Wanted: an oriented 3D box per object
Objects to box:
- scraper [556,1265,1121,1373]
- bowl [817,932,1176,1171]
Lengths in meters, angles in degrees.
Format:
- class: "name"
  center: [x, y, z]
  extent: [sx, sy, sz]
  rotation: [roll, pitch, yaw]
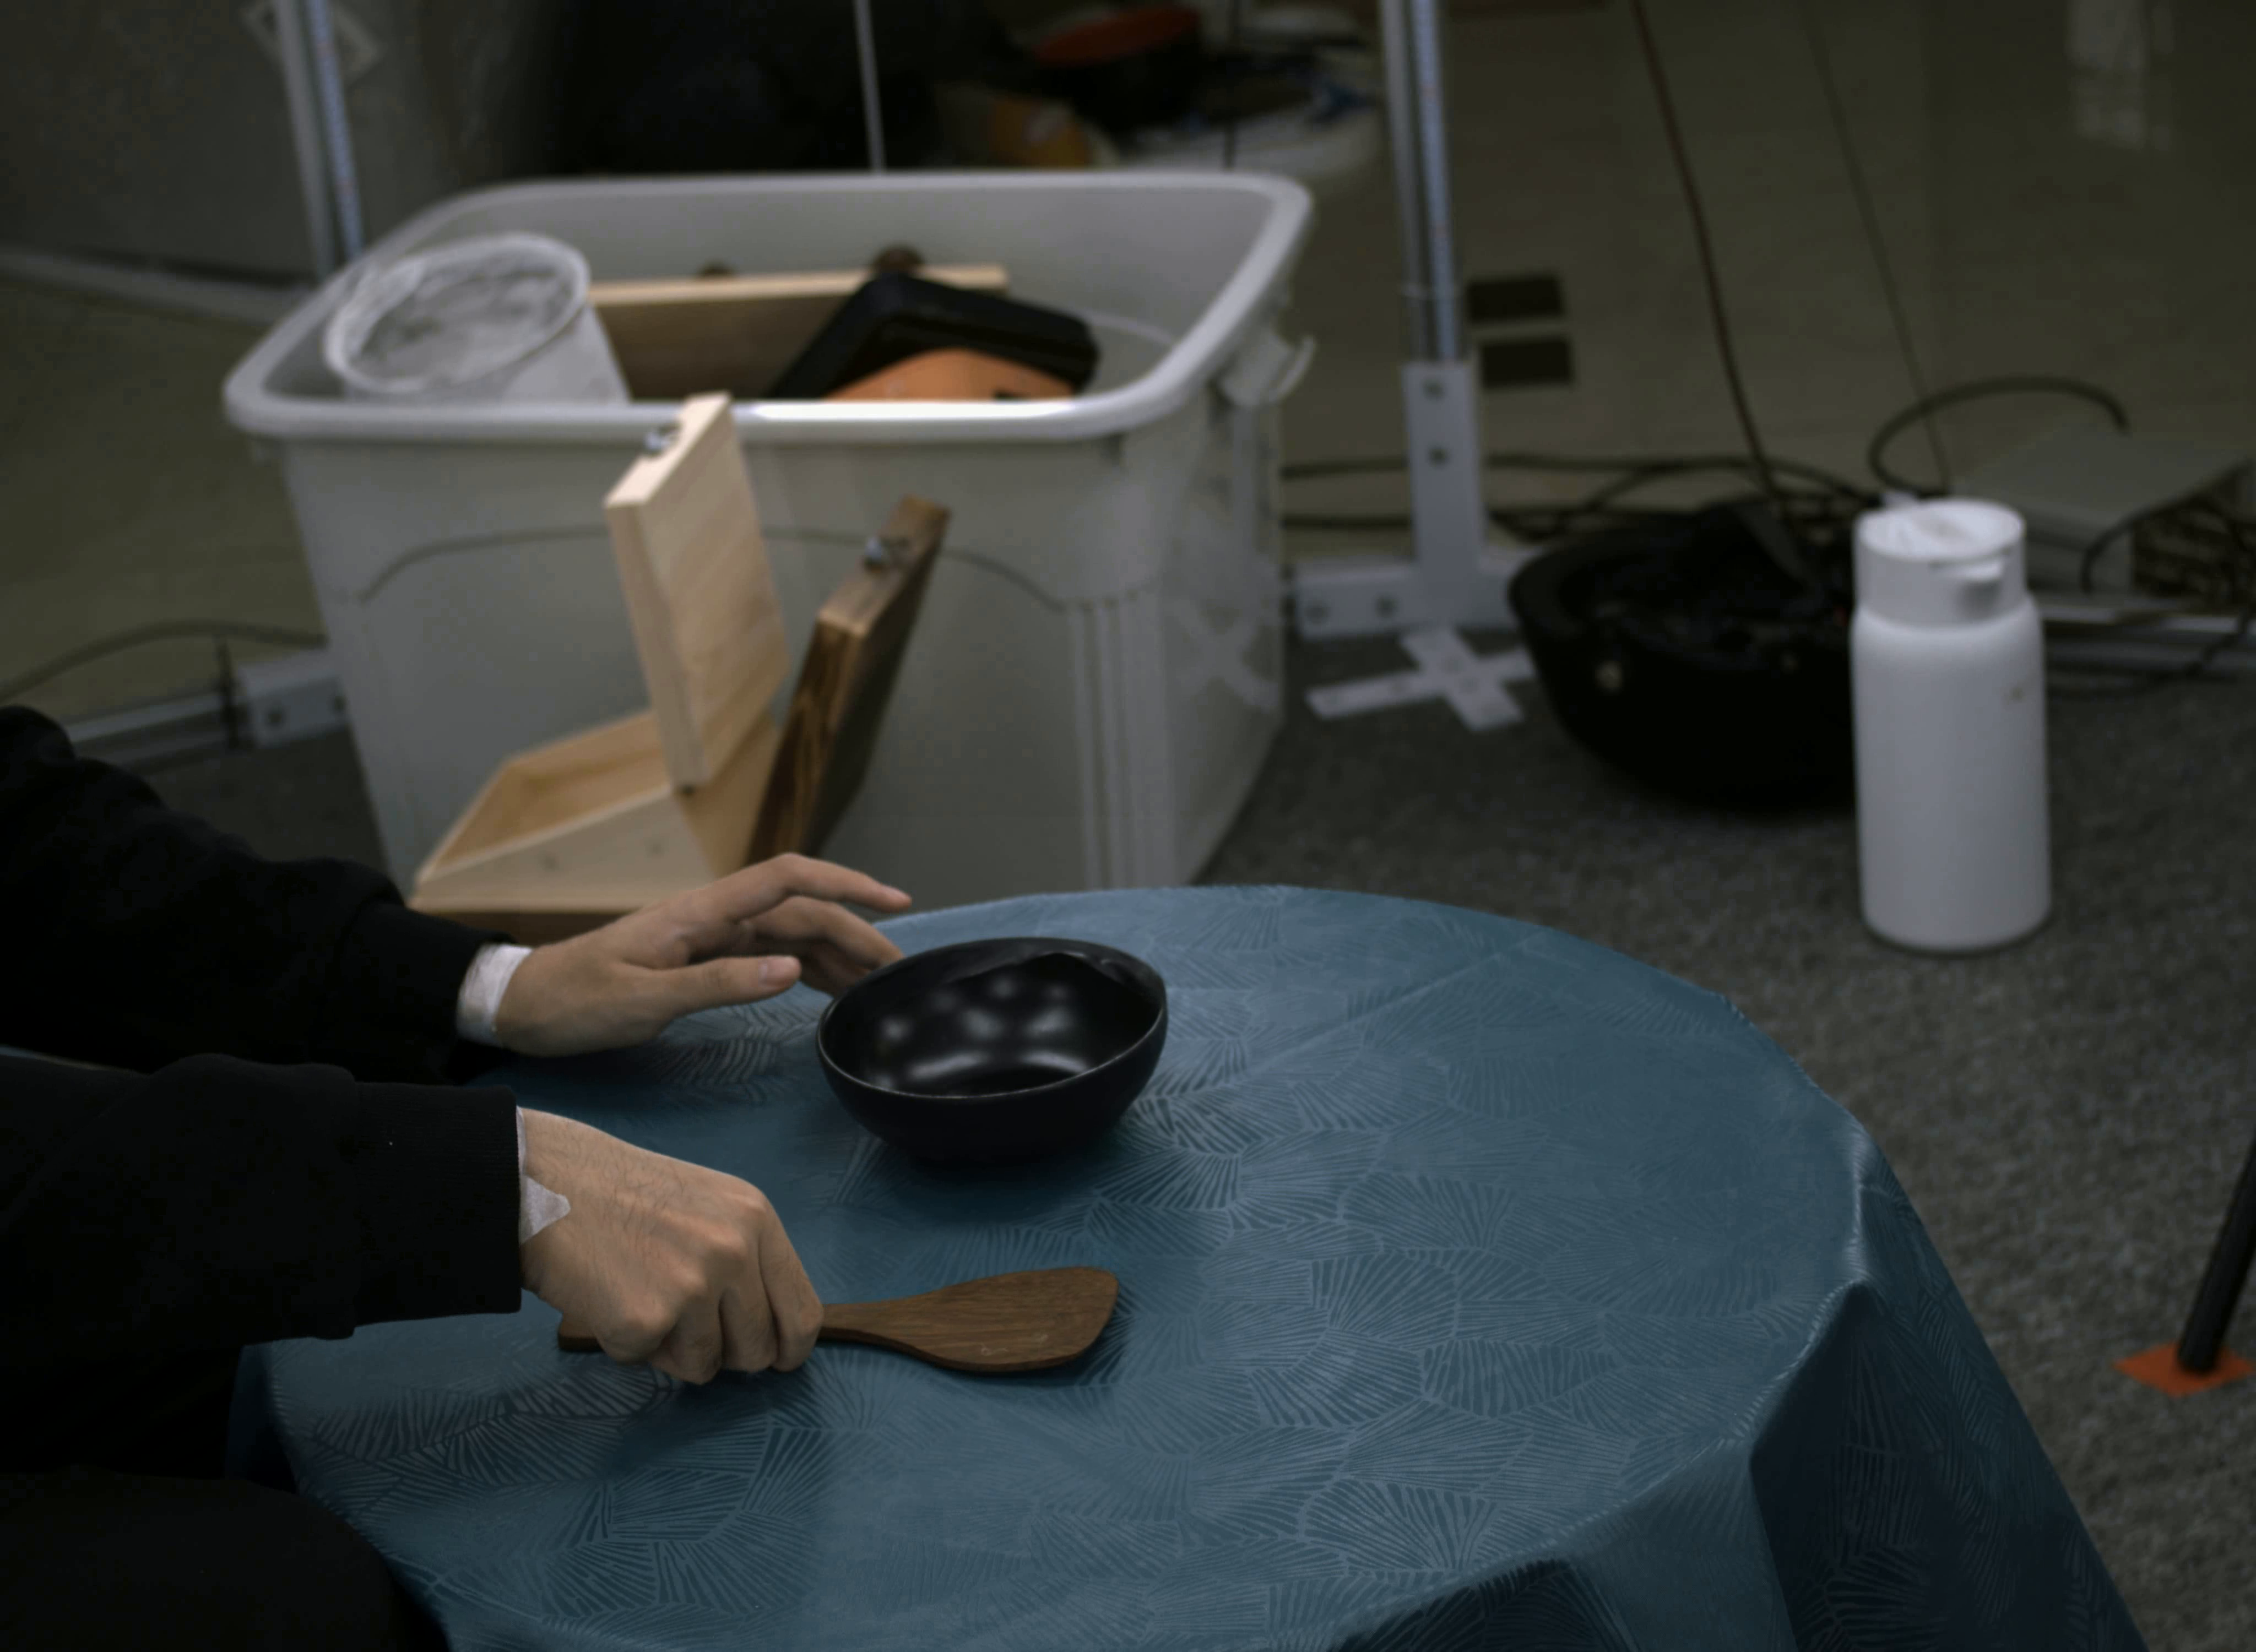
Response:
- class: "scraper"
  center: [-0.107, 0.182, 2.078]
  extent: [0.211, 0.011, 0.075]
  rotation: [-2, 22, 12]
- class: "bowl"
  center: [-0.049, 0.095, 2.202]
  extent: [0.140, 0.050, 0.138]
  rotation: [-6, 28, 3]
